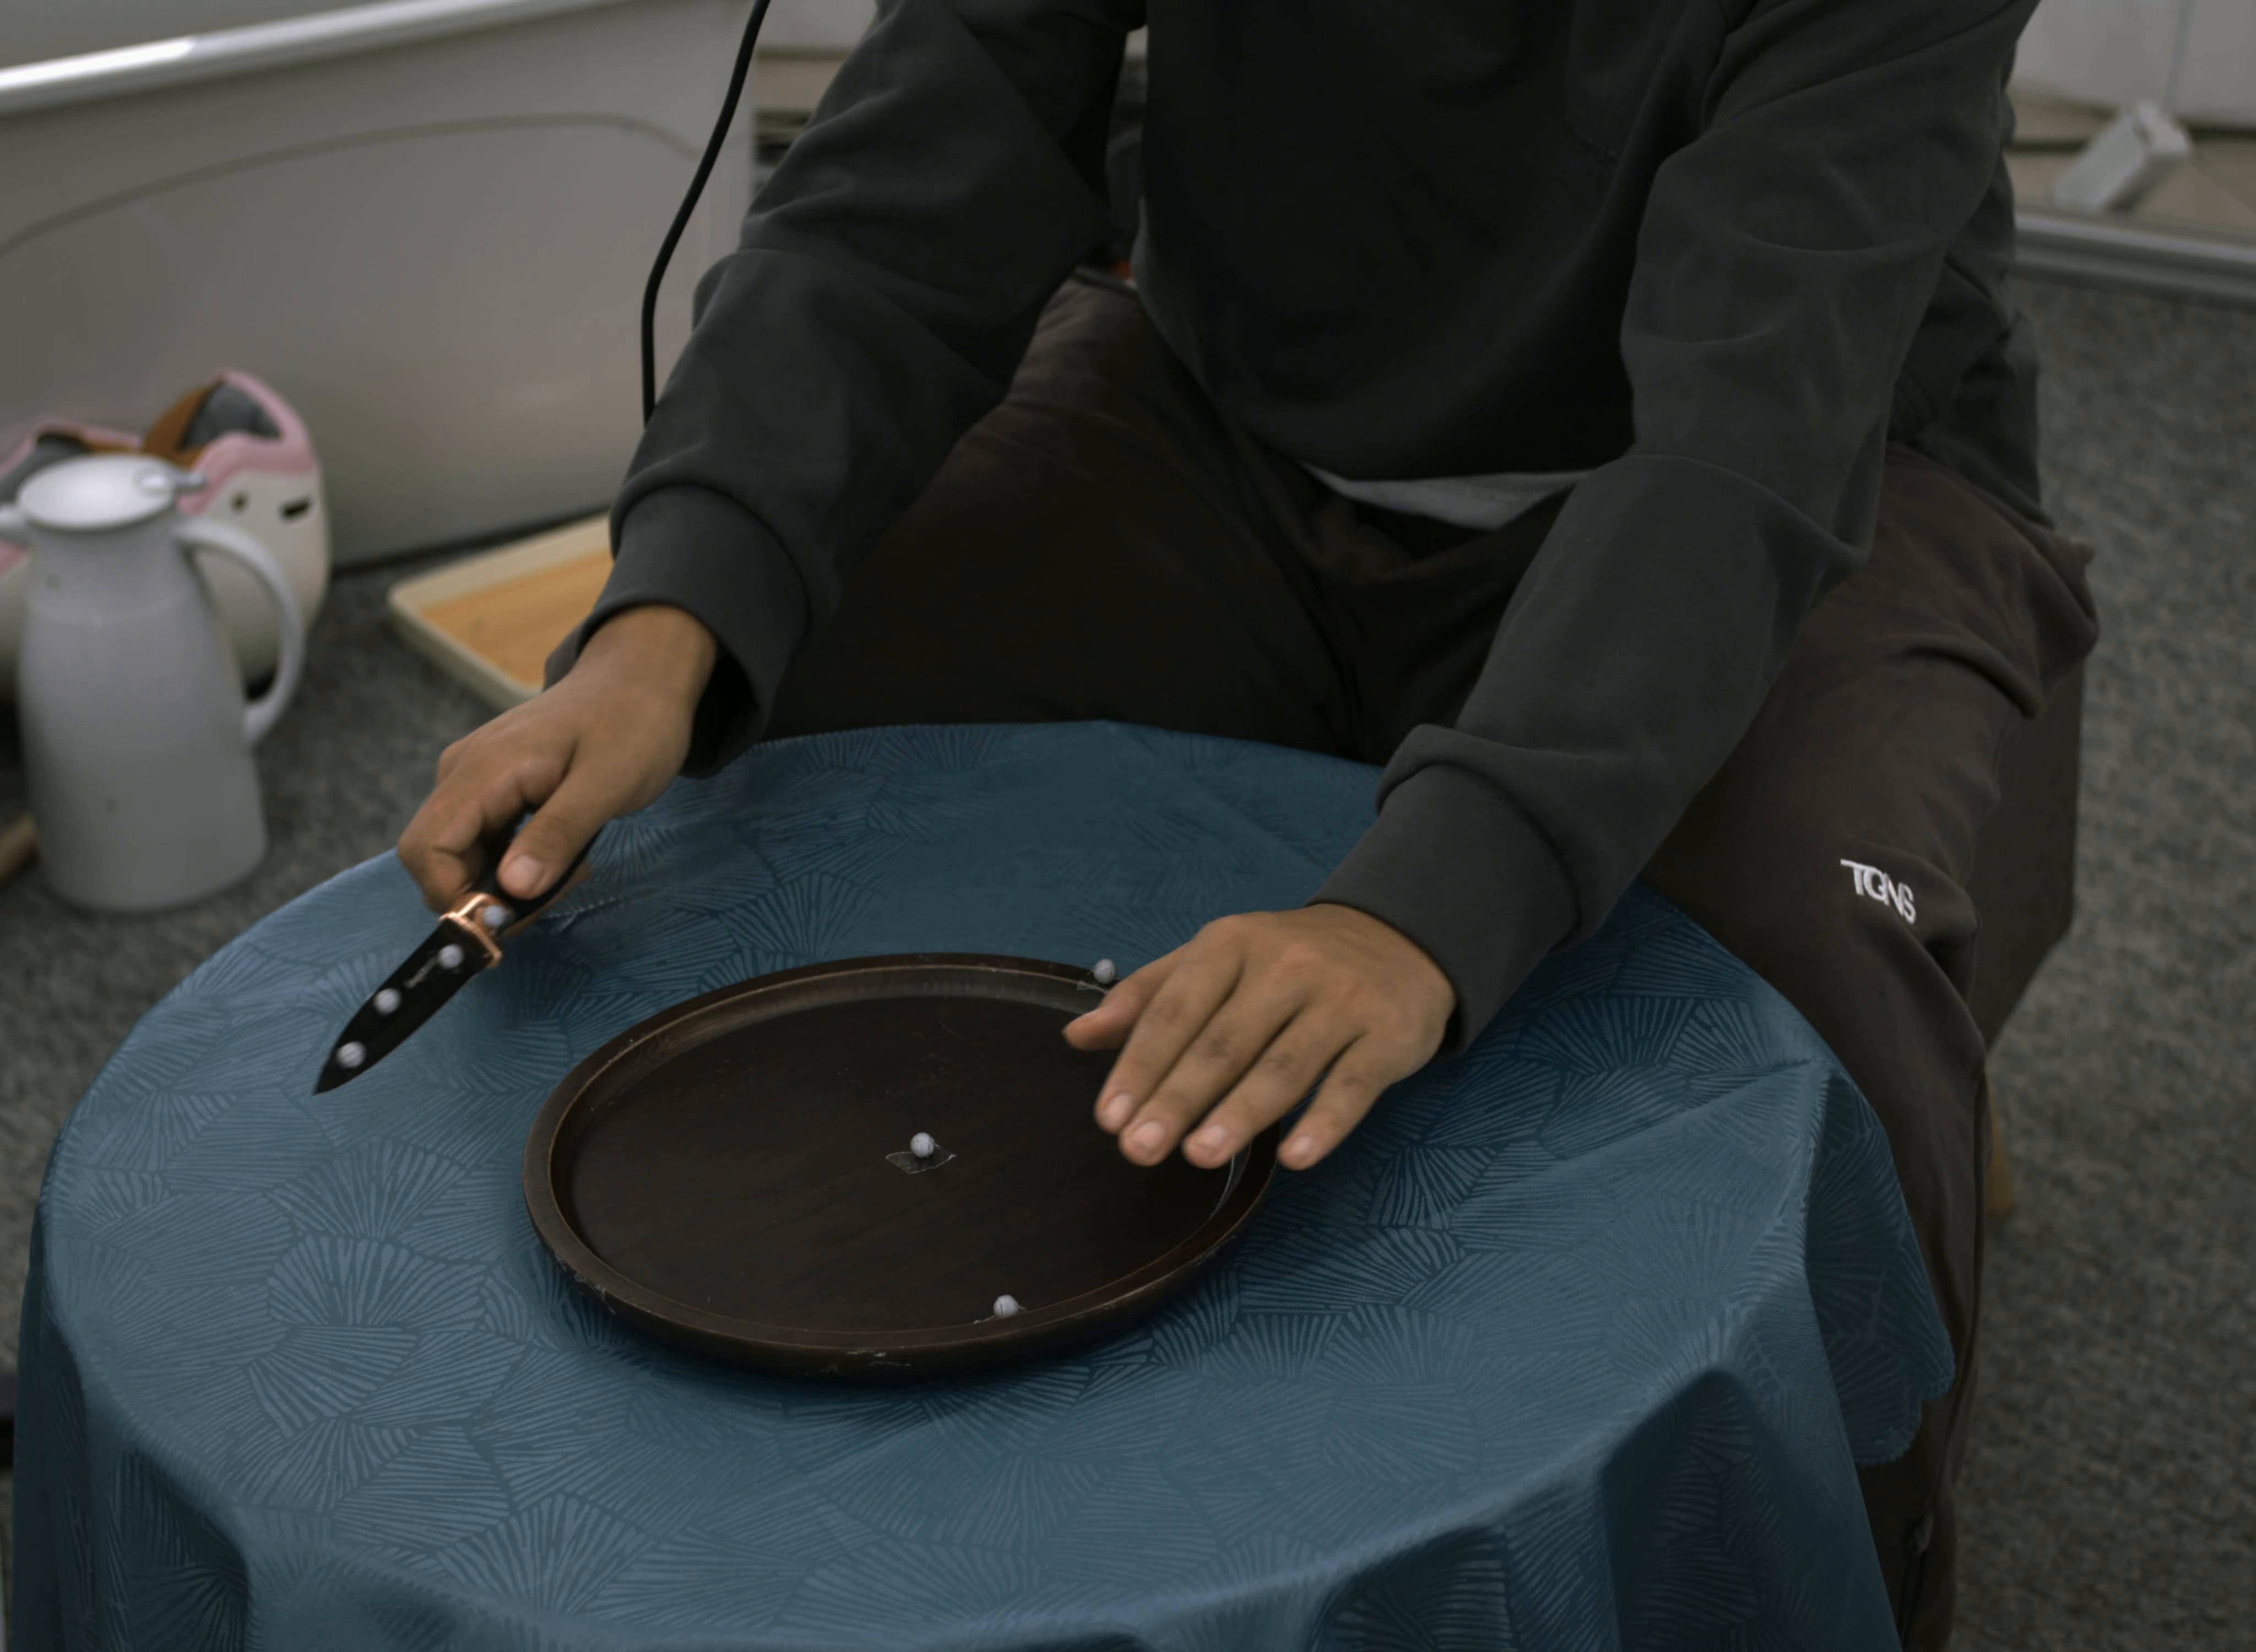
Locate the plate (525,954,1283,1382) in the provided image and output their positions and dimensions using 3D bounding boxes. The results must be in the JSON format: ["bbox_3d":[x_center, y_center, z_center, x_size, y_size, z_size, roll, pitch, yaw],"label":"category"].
[{"bbox_3d":[-0.074,0.112,1.865,0.253,0.029,0.258,-2,26,1],"label":"plate"}]

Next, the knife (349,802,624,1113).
[{"bbox_3d":[-0.225,0.044,1.954,0.026,0.017,0.229,34,31,2],"label":"knife"}]
